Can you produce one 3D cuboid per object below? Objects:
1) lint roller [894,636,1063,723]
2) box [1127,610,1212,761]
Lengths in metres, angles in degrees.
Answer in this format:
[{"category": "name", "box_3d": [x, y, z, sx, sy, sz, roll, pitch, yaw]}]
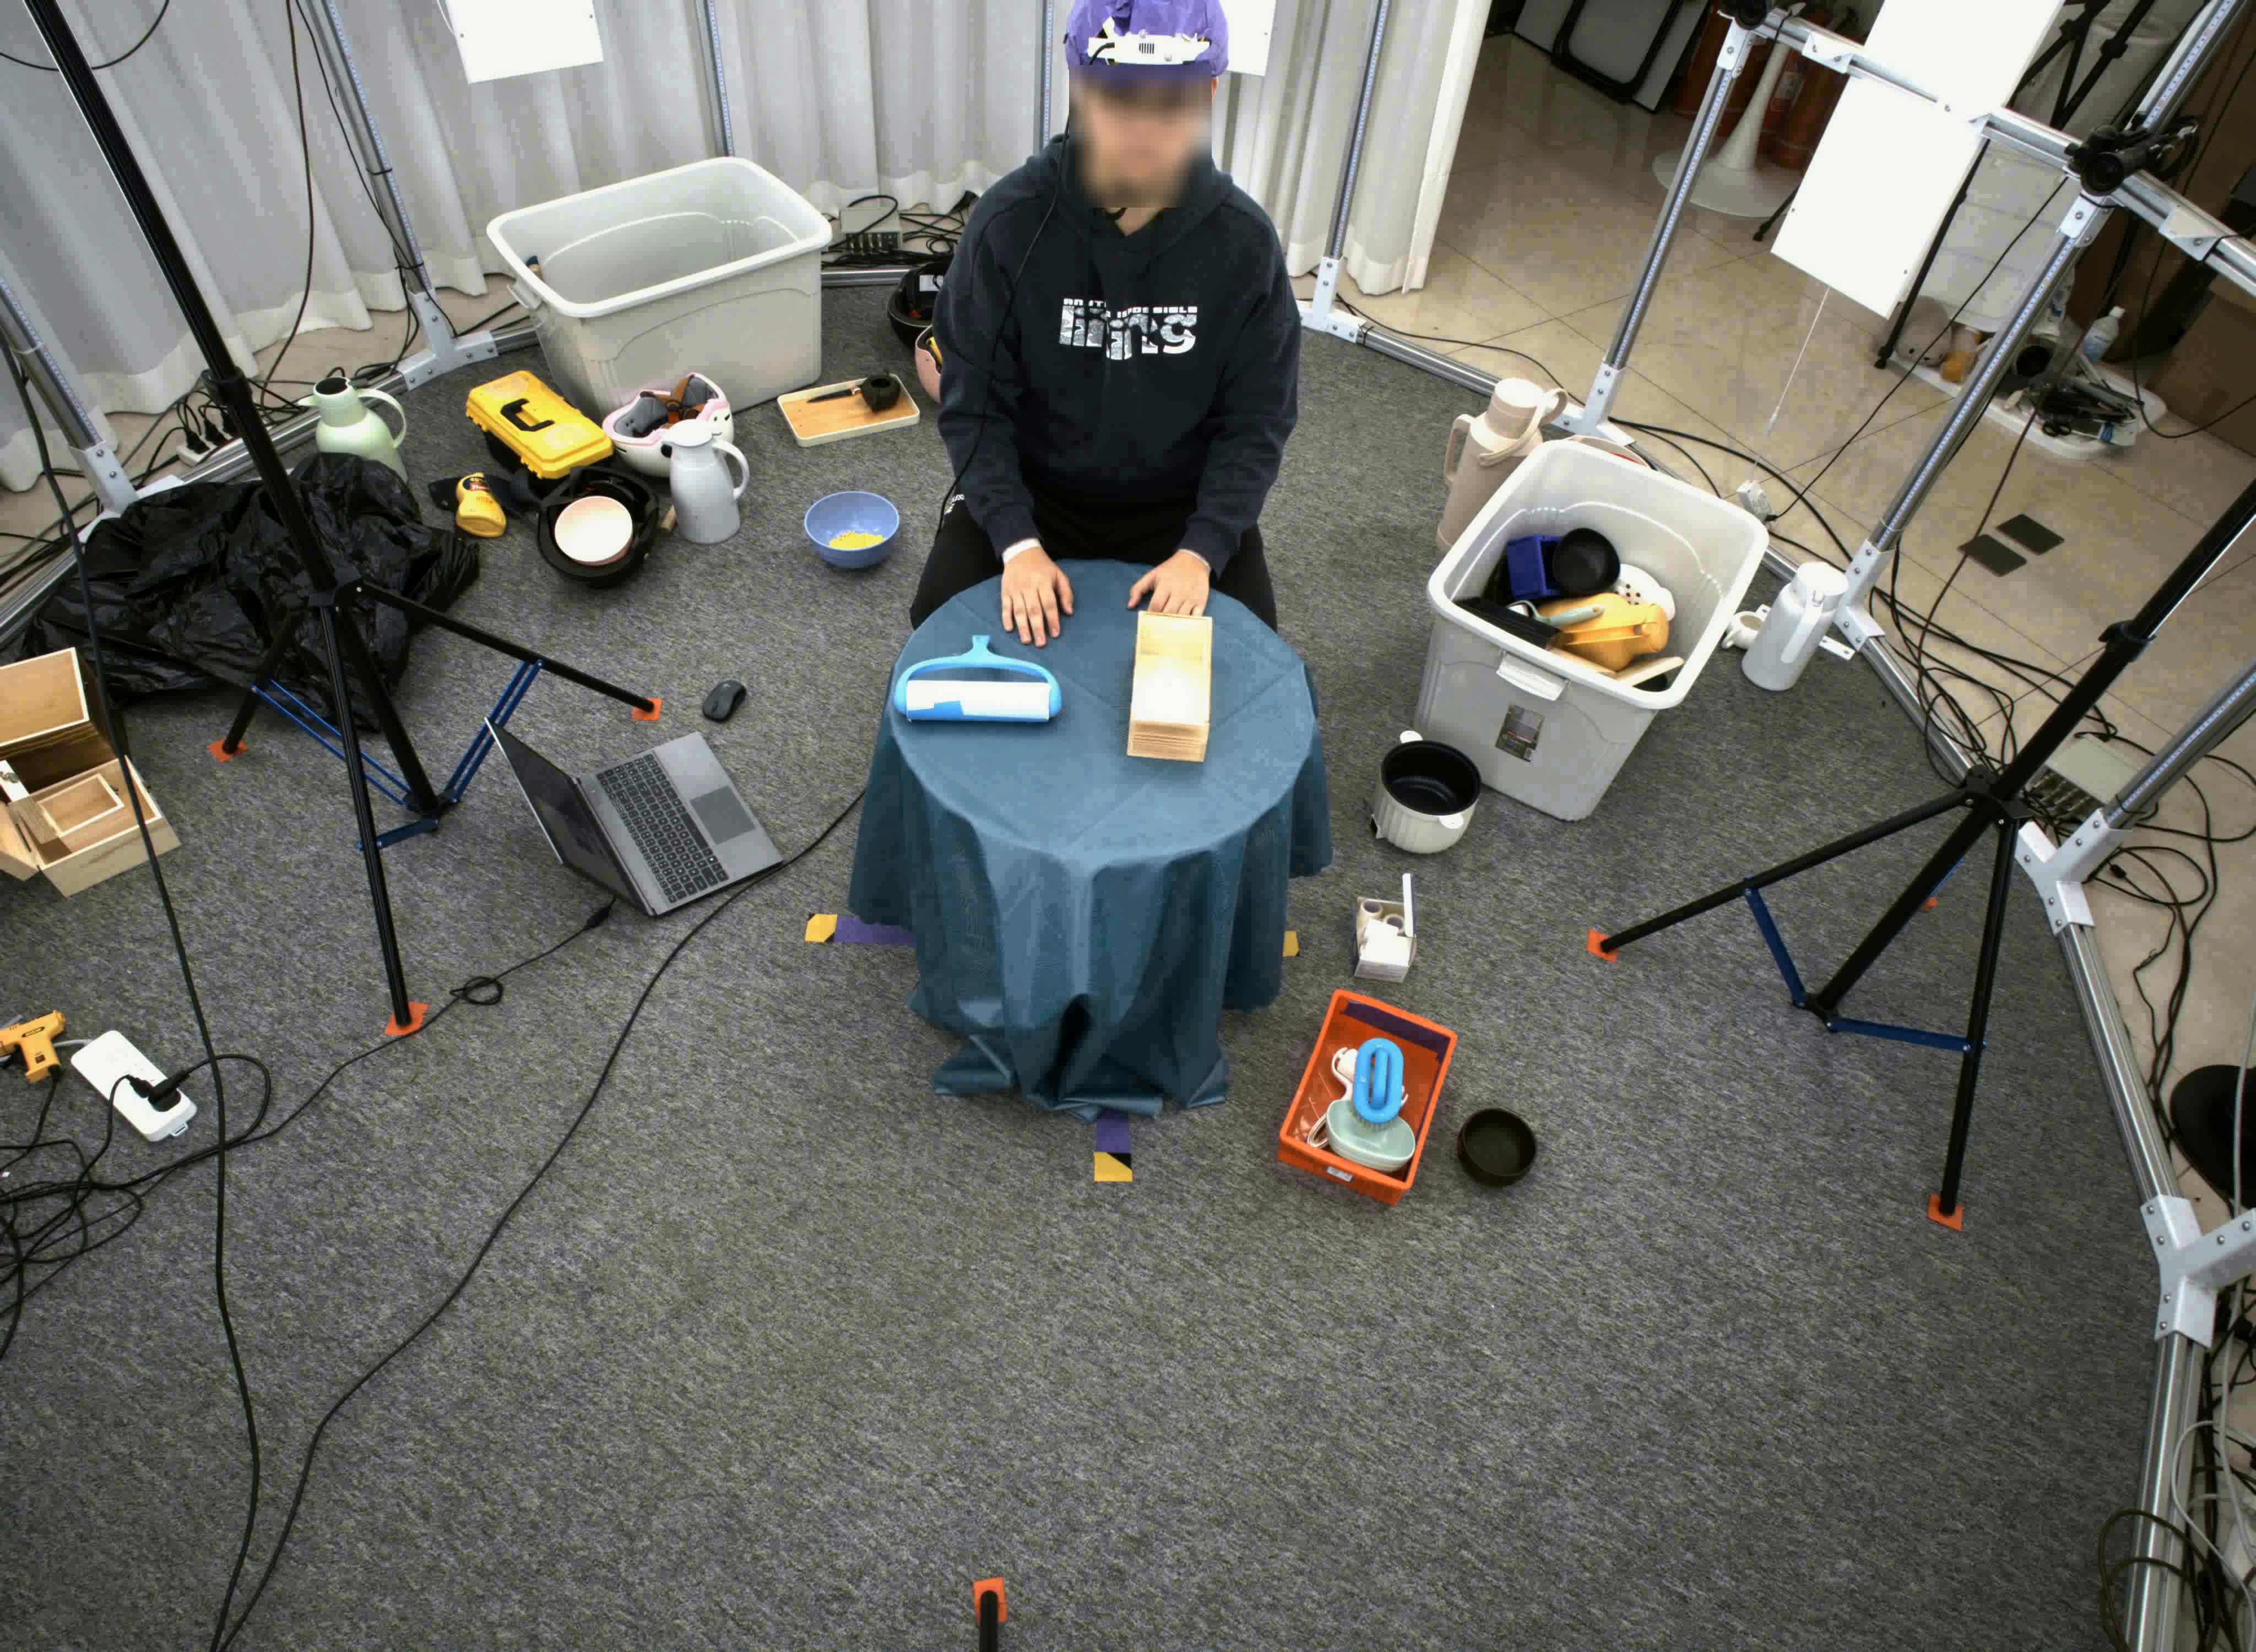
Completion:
[{"category": "lint roller", "box_3d": [-0.207, -0.219, 1.801, 0.228, 0.066, 0.185, -2, 51, -4]}, {"category": "box", "box_3d": [0.060, -0.199, 1.791, 0.107, 0.078, 0.216, 5, 49, -1]}]
